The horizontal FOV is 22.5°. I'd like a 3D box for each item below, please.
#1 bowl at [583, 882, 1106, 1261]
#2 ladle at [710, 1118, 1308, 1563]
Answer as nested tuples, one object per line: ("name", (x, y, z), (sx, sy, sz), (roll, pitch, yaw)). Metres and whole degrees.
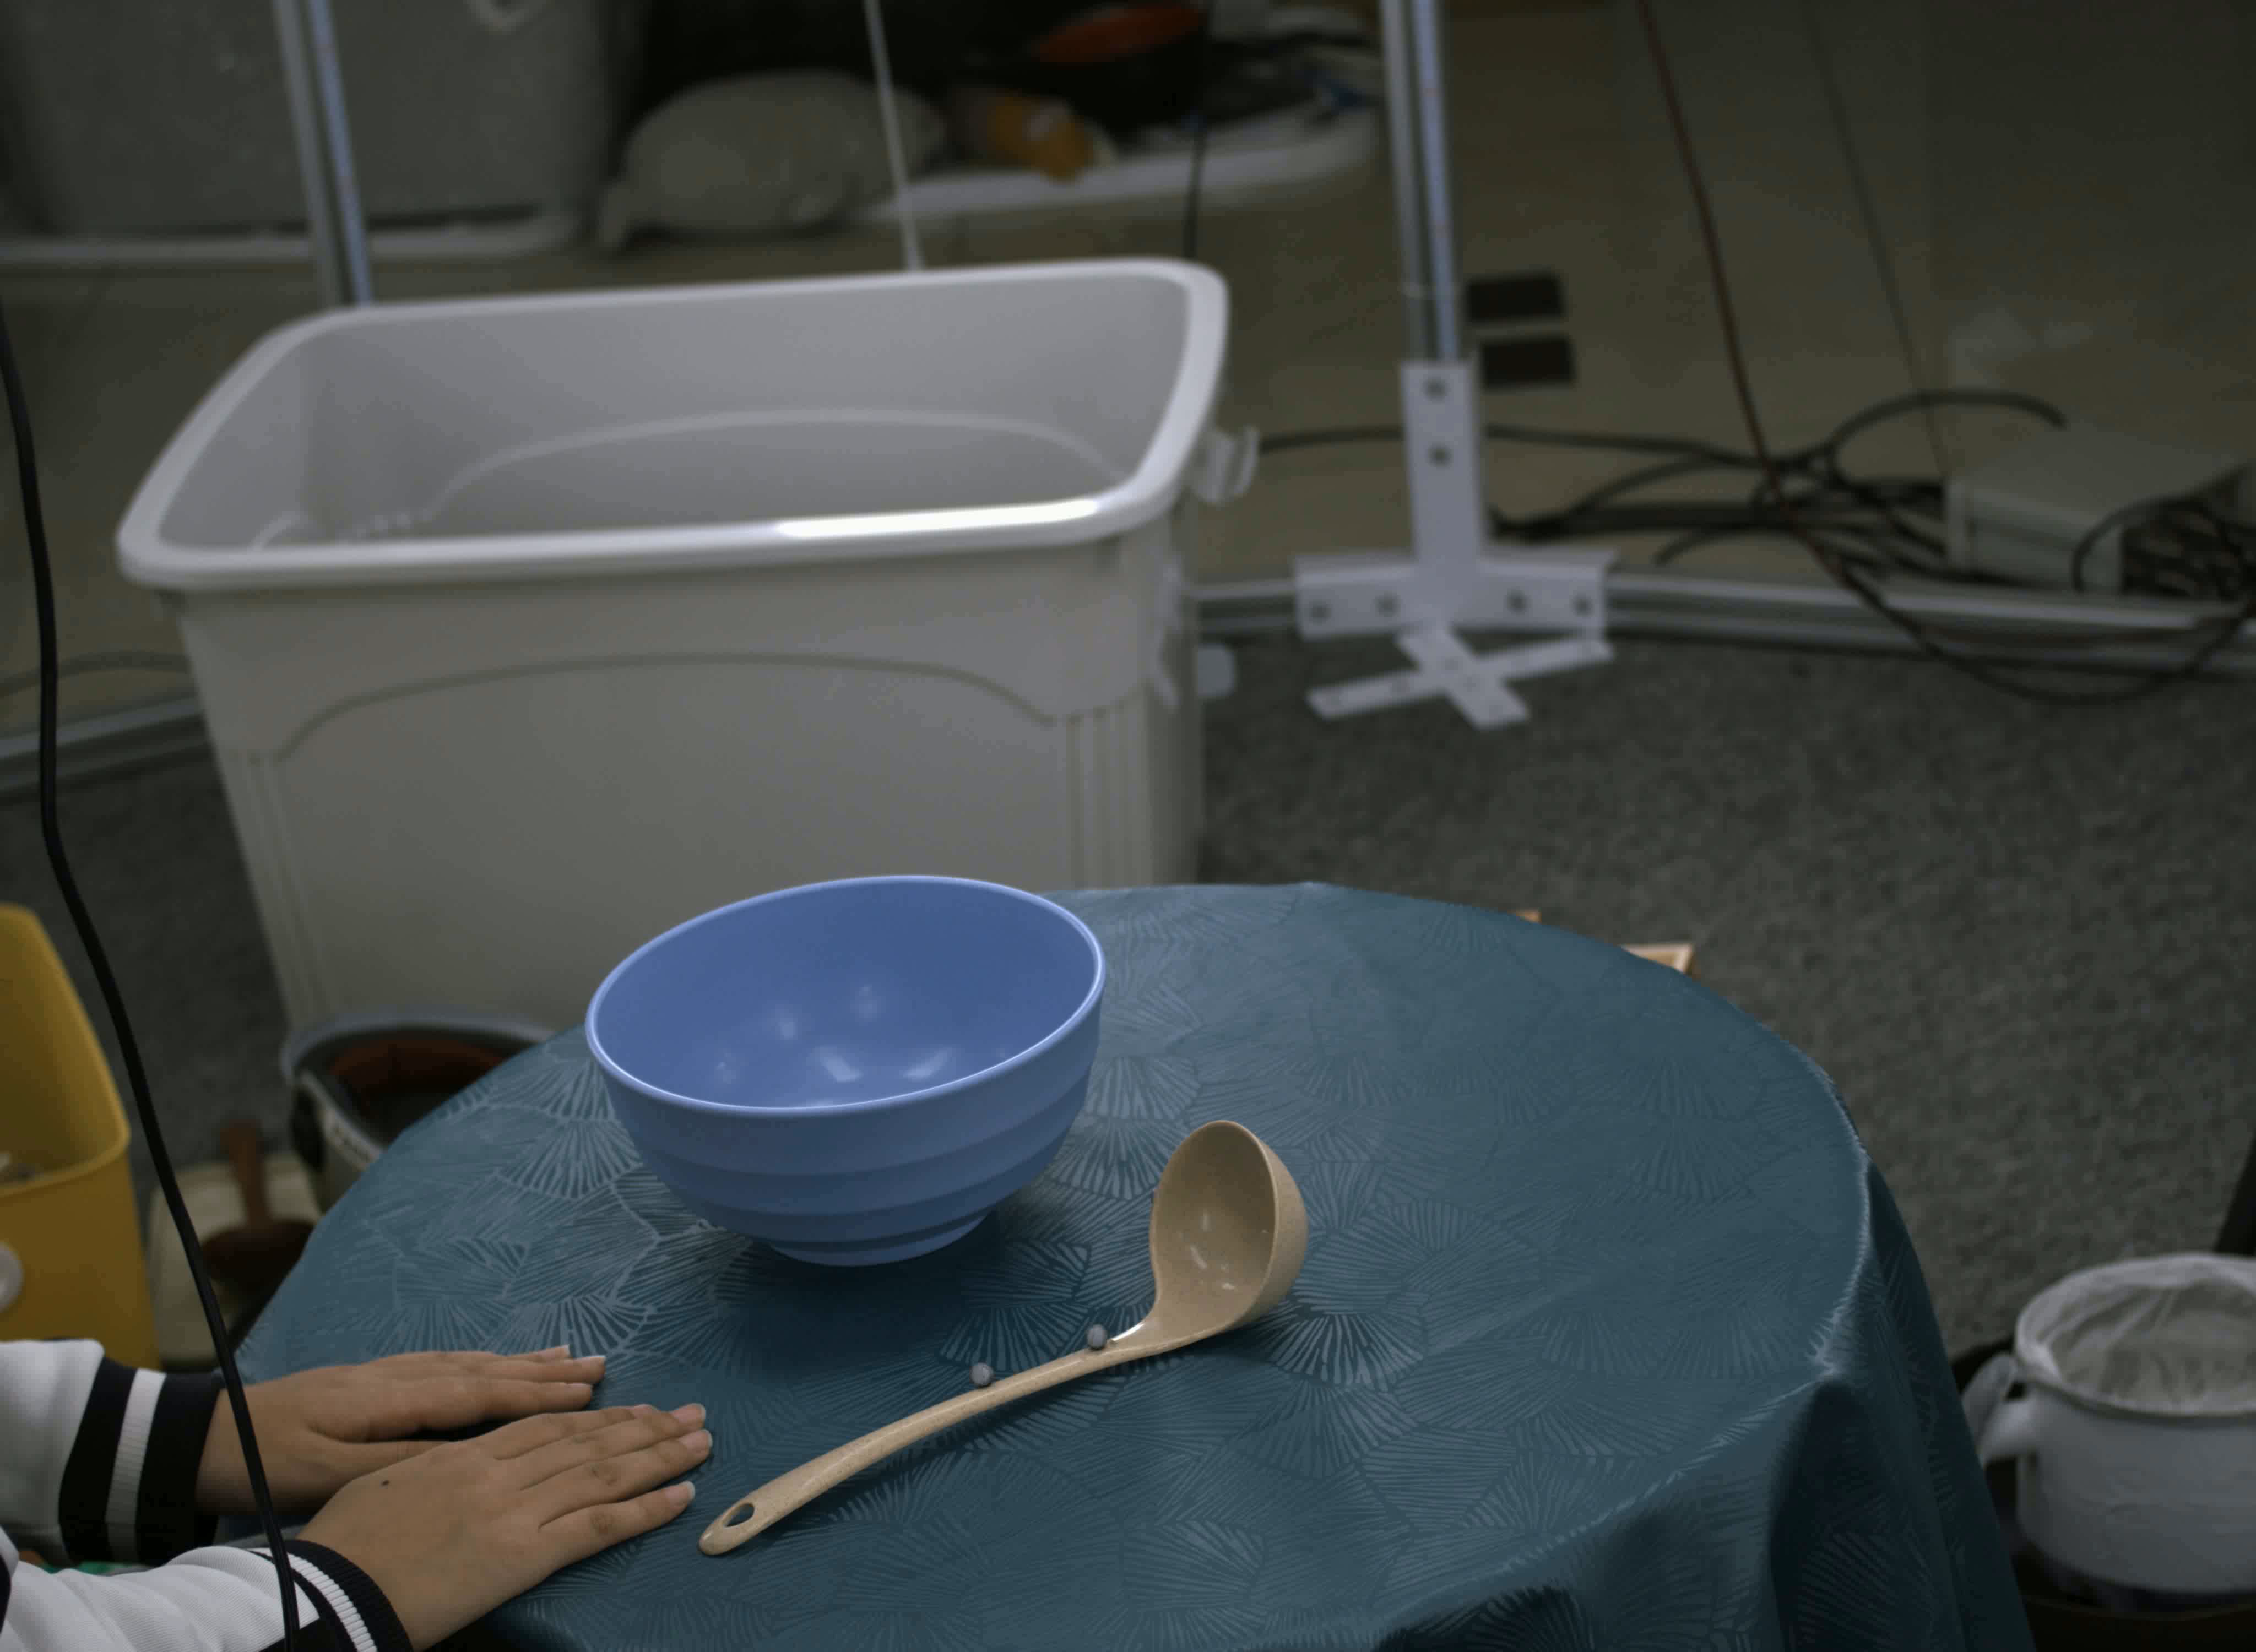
("bowl", (-0.103, 0.102, 2.135), (0.196, 0.097, 0.194), (-4, 22, 2))
("ladle", (-0.046, 0.176, 1.991), (0.252, 0.074, 0.071), (-23, 29, -31))
